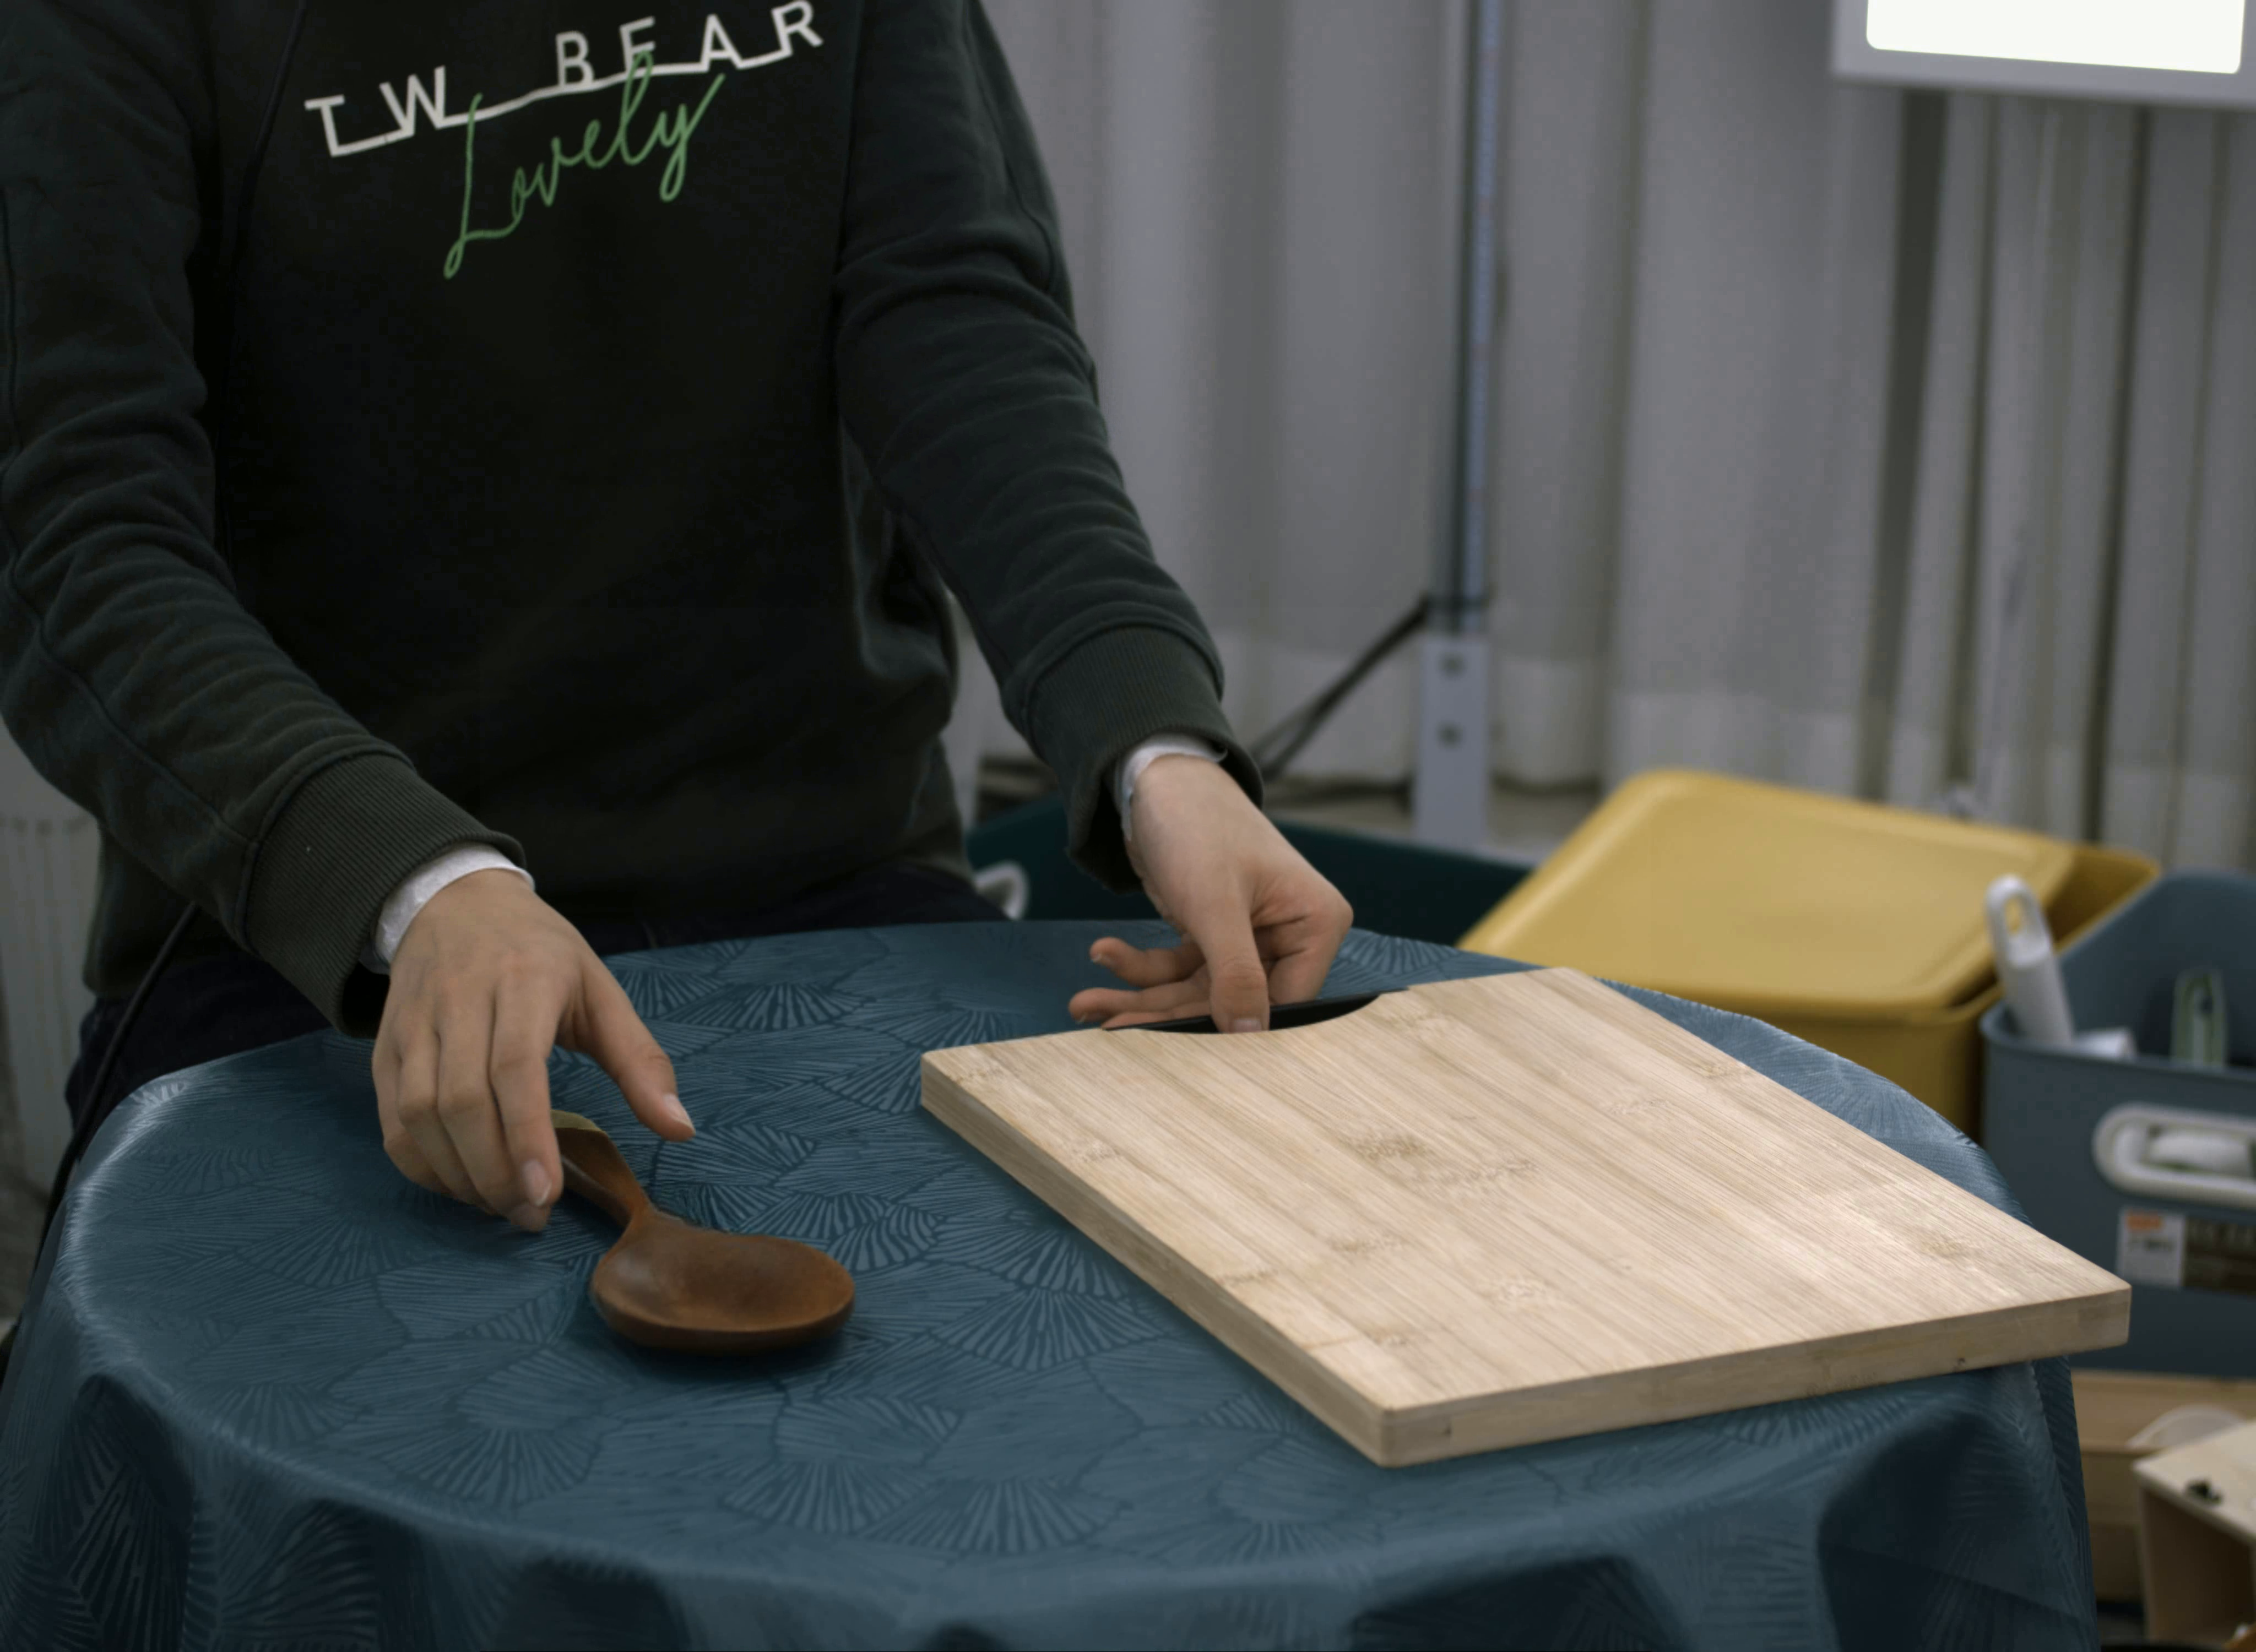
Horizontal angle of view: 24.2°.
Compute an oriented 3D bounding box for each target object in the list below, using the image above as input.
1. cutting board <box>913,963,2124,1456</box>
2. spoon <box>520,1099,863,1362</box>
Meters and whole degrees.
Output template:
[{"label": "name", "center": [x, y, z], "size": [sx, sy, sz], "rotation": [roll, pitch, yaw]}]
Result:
[{"label": "cutting board", "center": [0.107, 0.110, 1.611], "size": [0.251, 0.024, 0.344], "rotation": [-6, 17, -25]}, {"label": "spoon", "center": [-0.139, 0.120, 1.561], "size": [0.076, 0.017, 0.213], "rotation": [-8, 19, -22]}]
